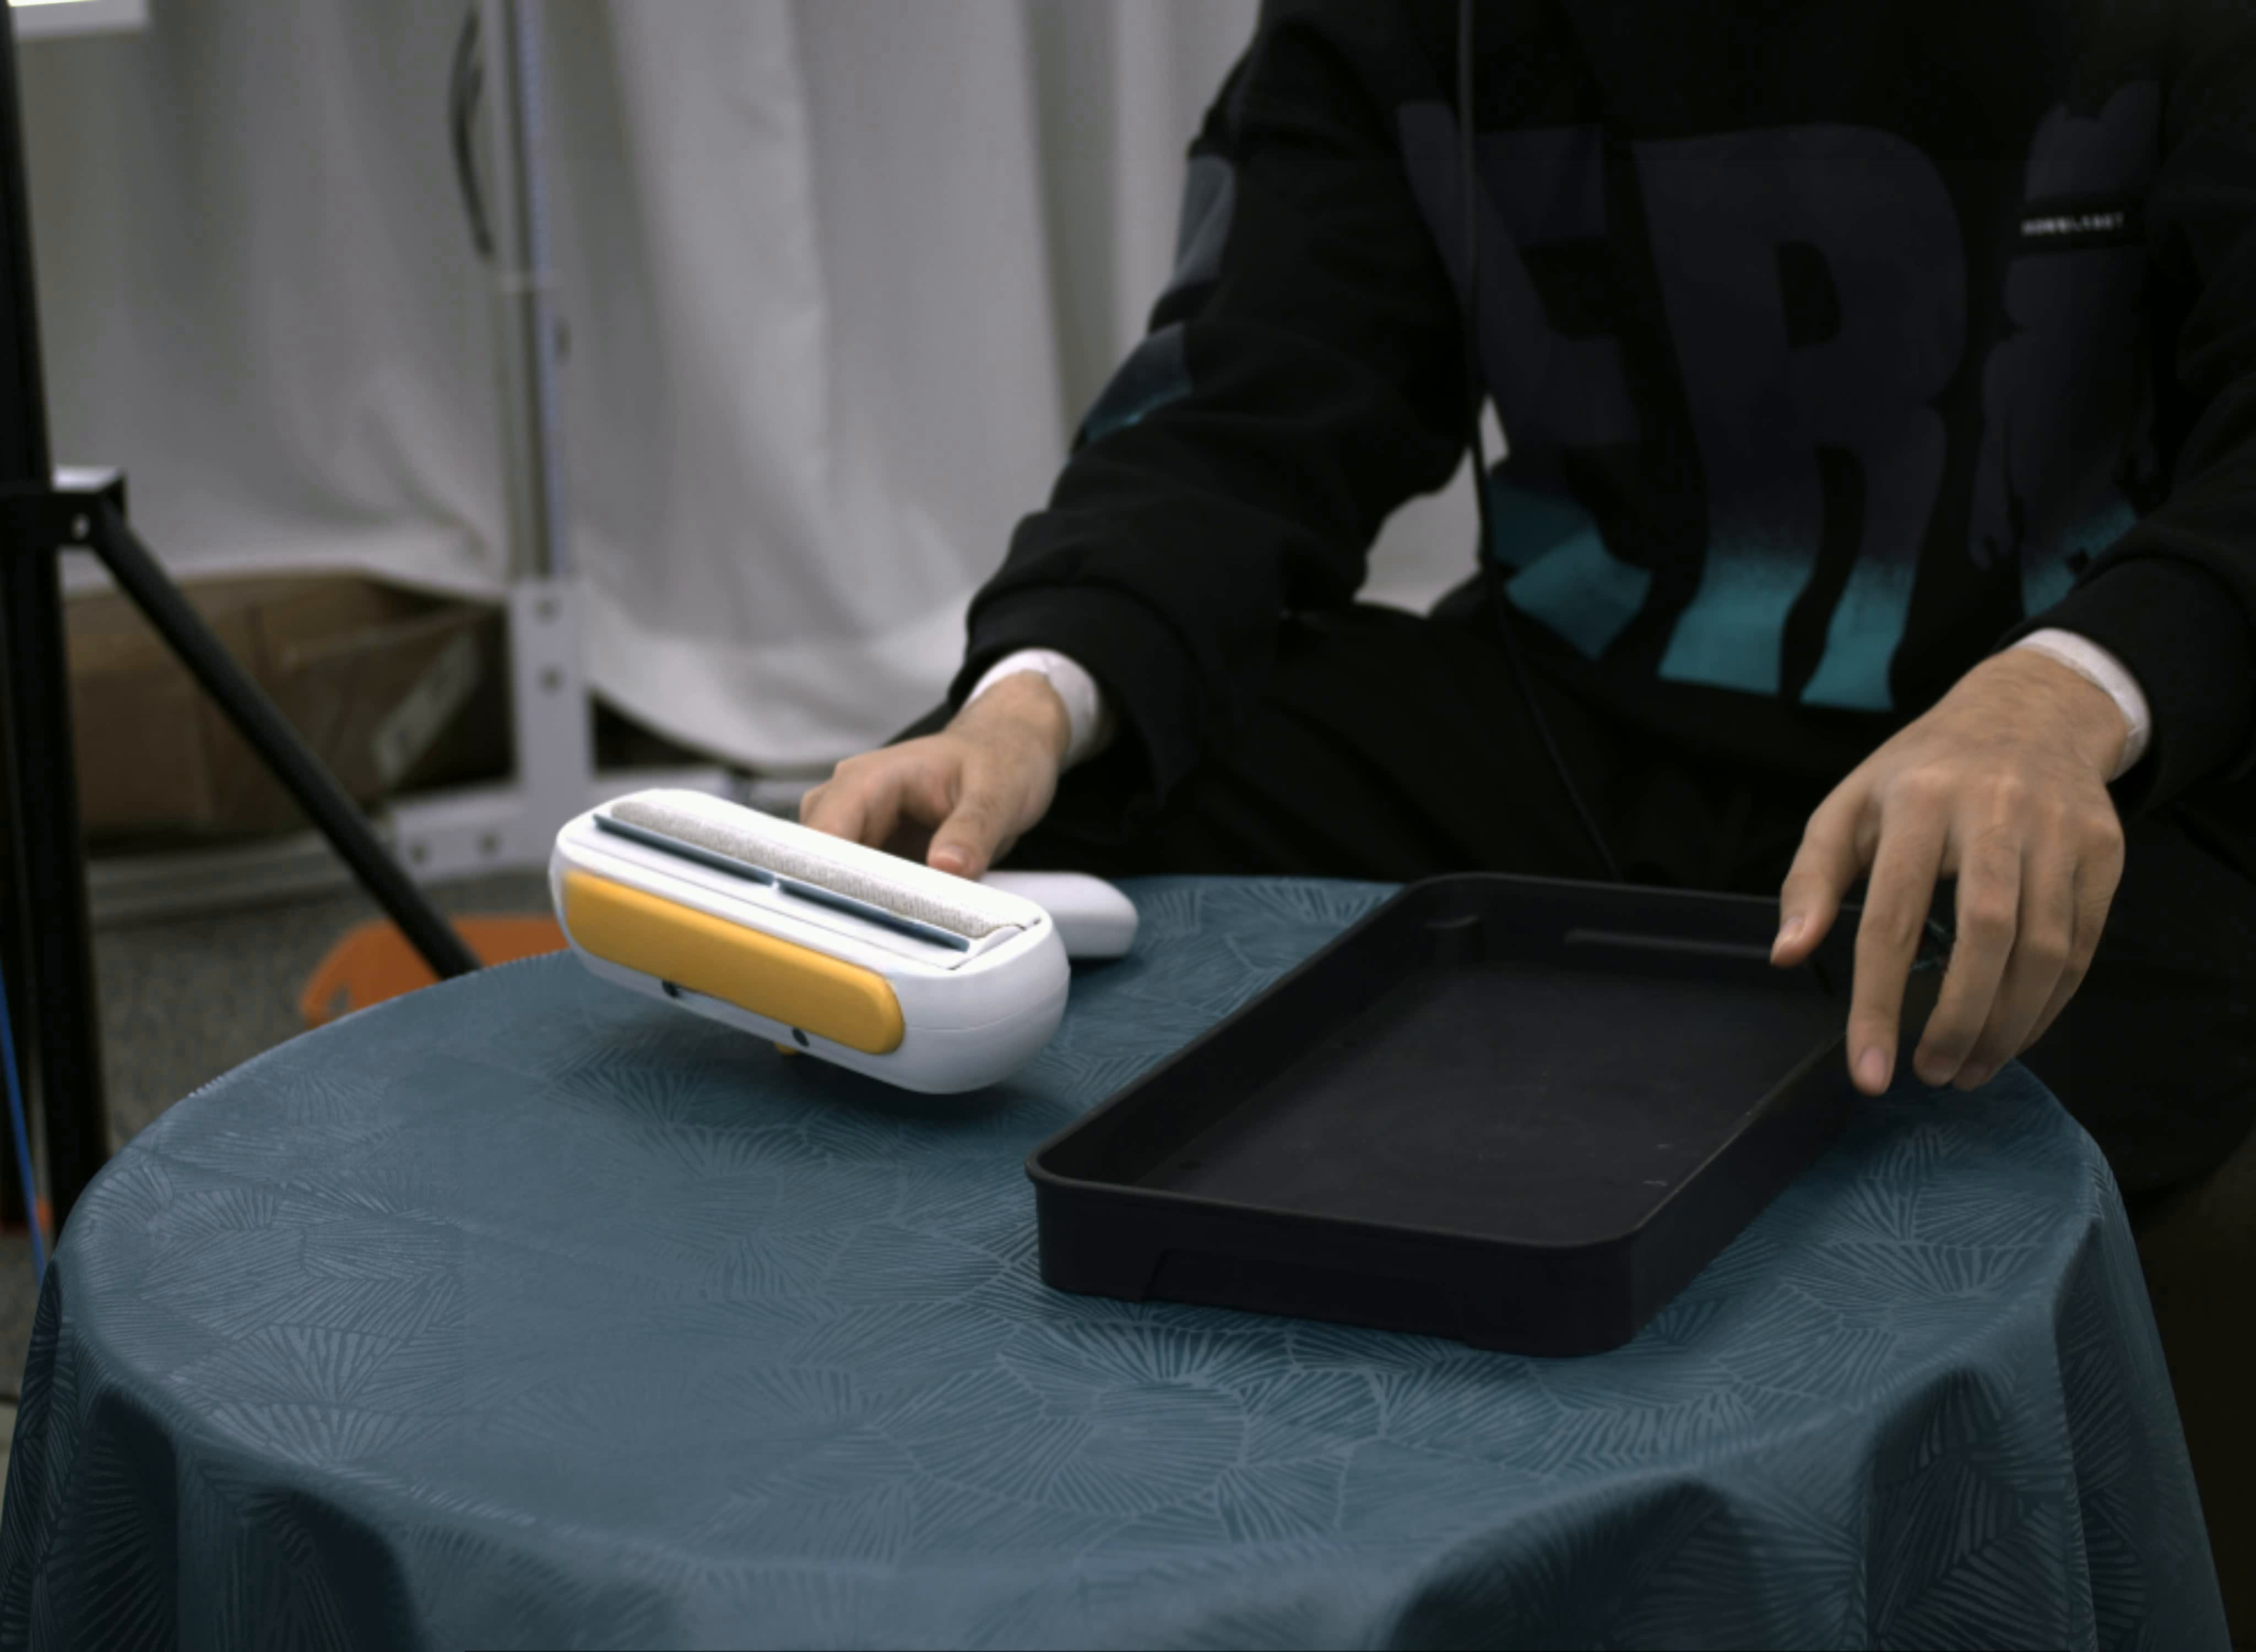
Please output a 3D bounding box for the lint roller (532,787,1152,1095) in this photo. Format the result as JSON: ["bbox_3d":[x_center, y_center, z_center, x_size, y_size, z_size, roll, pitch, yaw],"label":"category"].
[{"bbox_3d":[-0.067,0.029,1.720,0.188,0.074,0.197,-17,22,-42],"label":"lint roller"}]

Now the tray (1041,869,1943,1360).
[{"bbox_3d":[0.117,0.079,1.576,0.187,0.037,0.313,4,18,25],"label":"tray"}]
